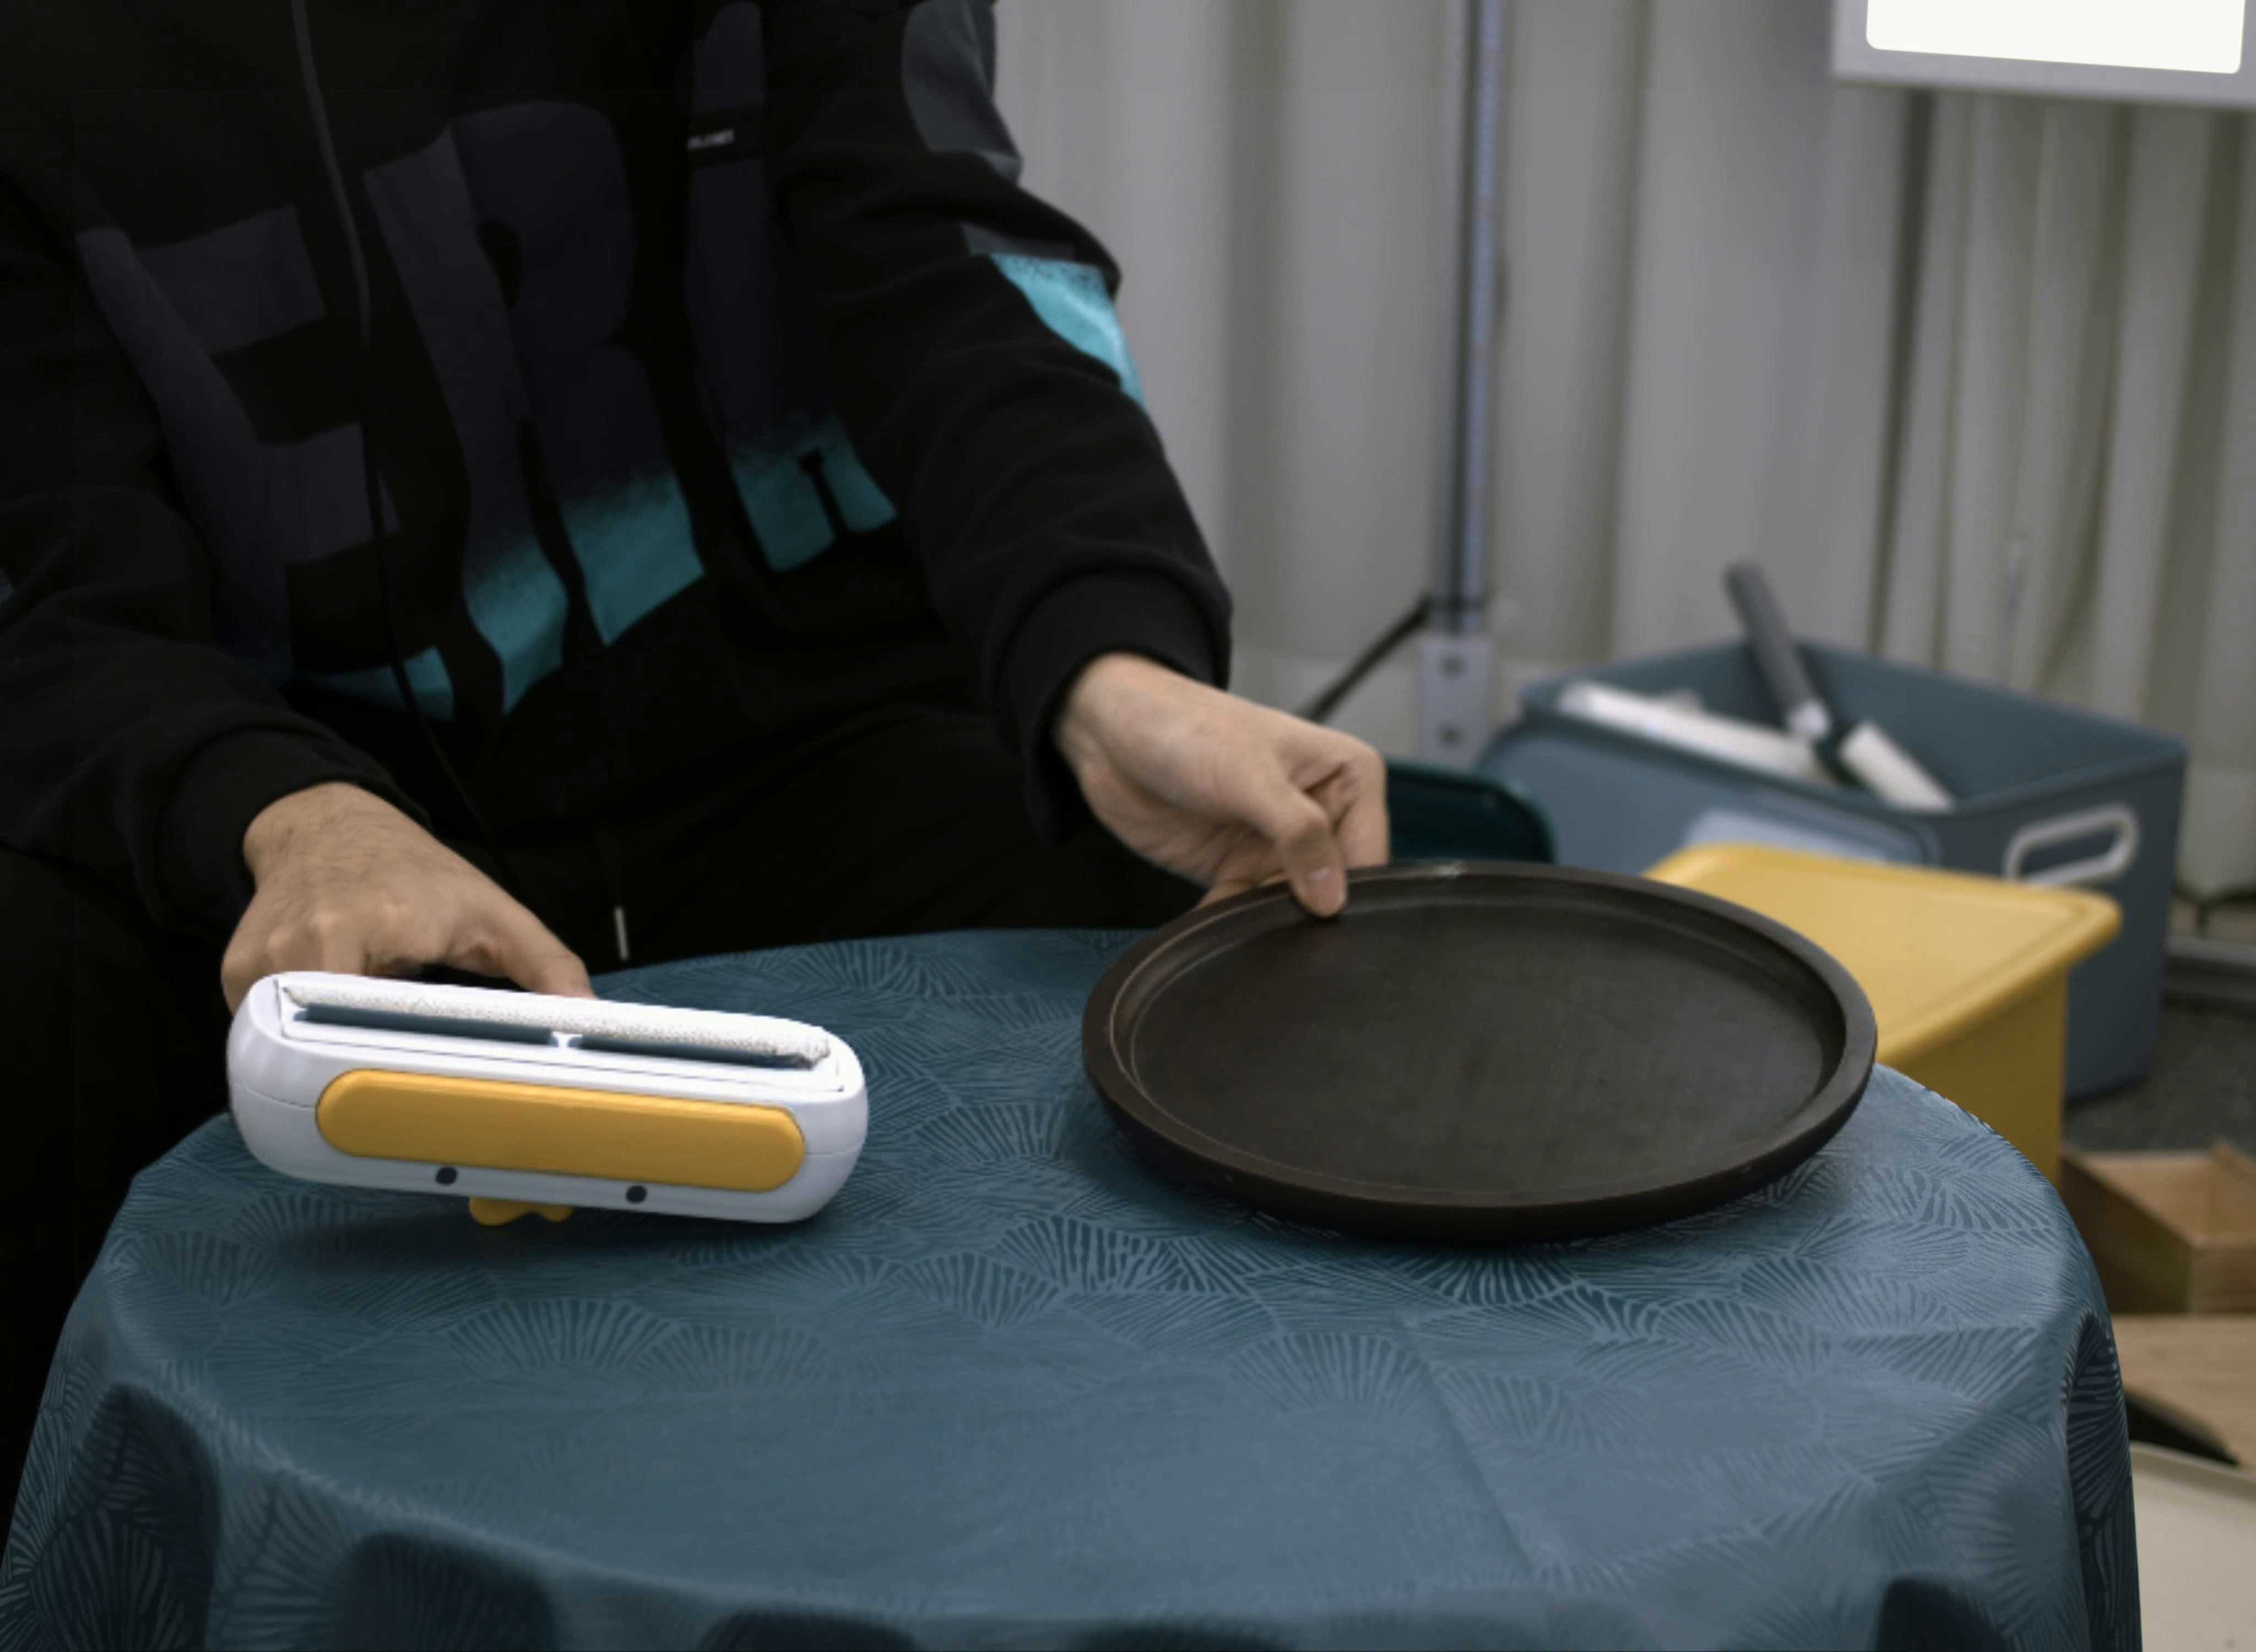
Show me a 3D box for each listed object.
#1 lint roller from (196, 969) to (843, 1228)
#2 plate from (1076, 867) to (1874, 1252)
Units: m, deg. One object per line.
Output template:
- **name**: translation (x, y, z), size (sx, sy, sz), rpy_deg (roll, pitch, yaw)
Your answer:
- **lint roller**: translation (-0.191, 0.074, 1.627), size (0.193, 0.075, 0.191), rpy_deg (3, 13, -11)
- **plate**: translation (0.110, 0.072, 1.672), size (0.254, 0.029, 0.253), rpy_deg (-1, 22, 1)
